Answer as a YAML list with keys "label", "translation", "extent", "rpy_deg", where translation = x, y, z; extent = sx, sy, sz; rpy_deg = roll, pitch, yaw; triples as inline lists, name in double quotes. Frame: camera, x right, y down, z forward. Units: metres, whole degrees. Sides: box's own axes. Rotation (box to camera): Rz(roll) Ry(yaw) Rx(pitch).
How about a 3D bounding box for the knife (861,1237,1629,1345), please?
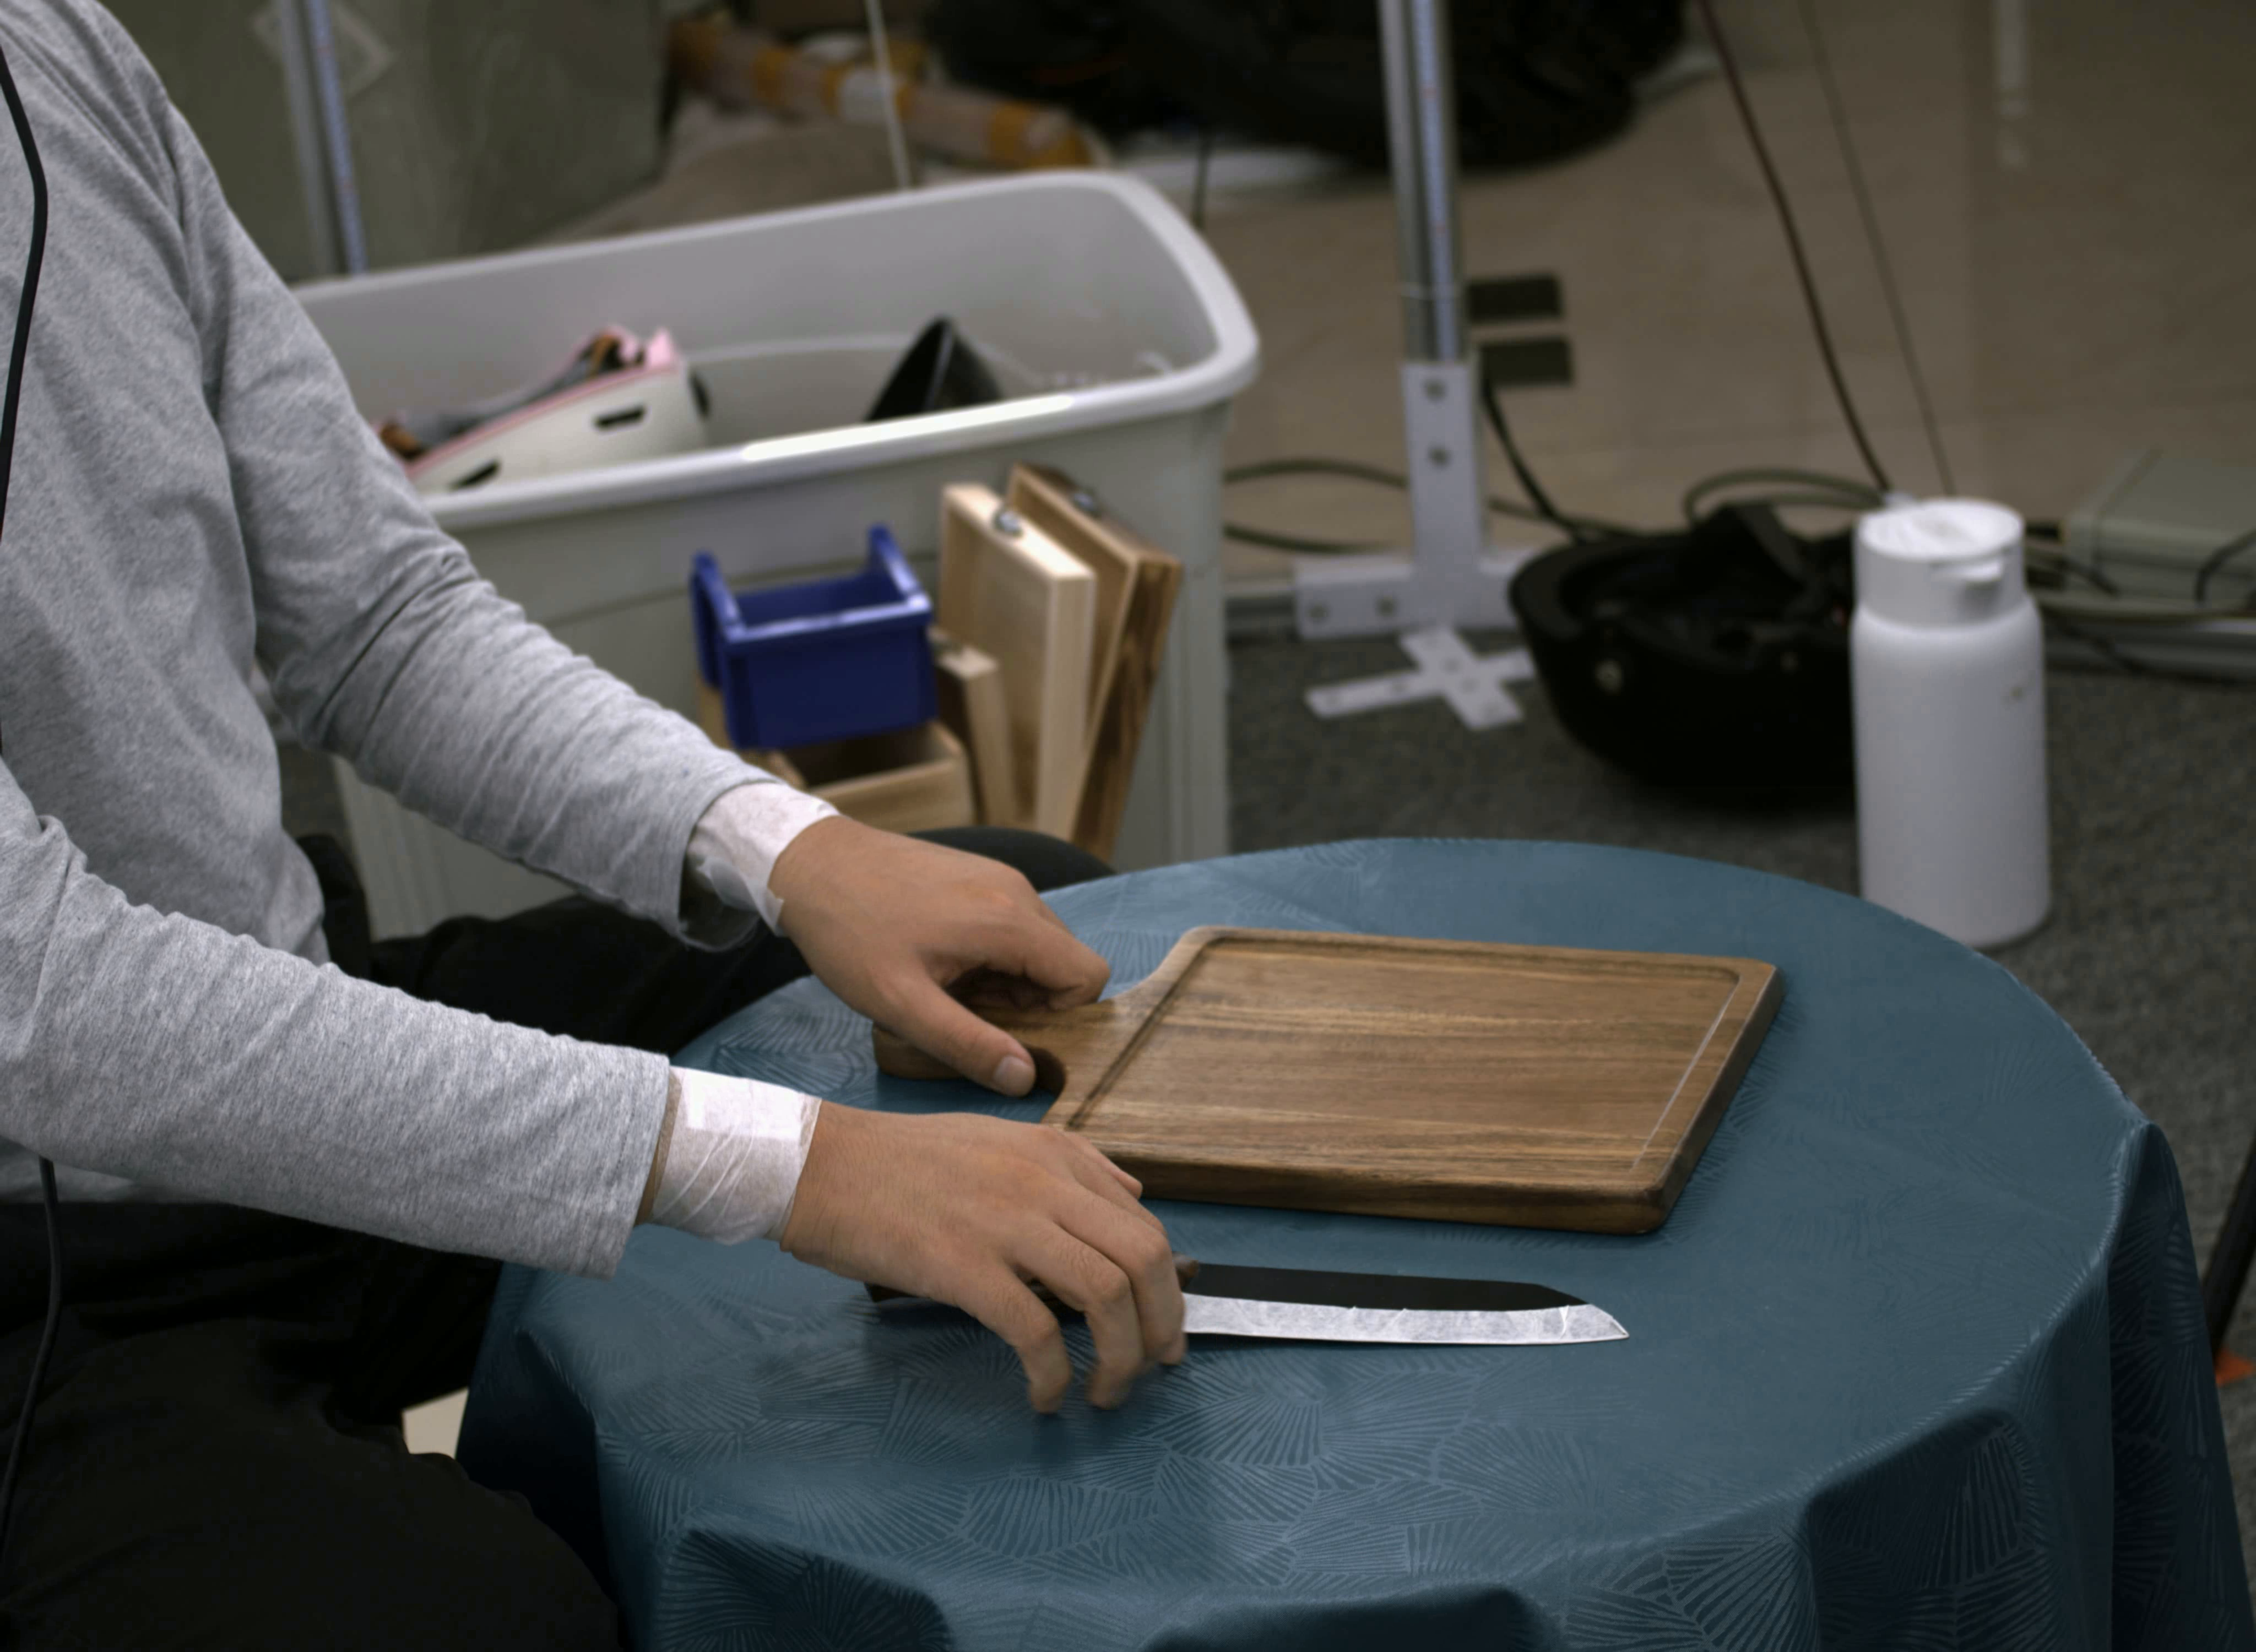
- label: "knife"
  translation: [0.039, 0.171, 2.056]
  extent: [0.288, 0.020, 0.049]
  rpy_deg: [3, 32, 15]

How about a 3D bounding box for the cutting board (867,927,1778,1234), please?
- label: "cutting board"
  translation: [0.063, 0.092, 2.213]
  extent: [0.351, 0.023, 0.198]
  rpy_deg: [3, 26, 20]
